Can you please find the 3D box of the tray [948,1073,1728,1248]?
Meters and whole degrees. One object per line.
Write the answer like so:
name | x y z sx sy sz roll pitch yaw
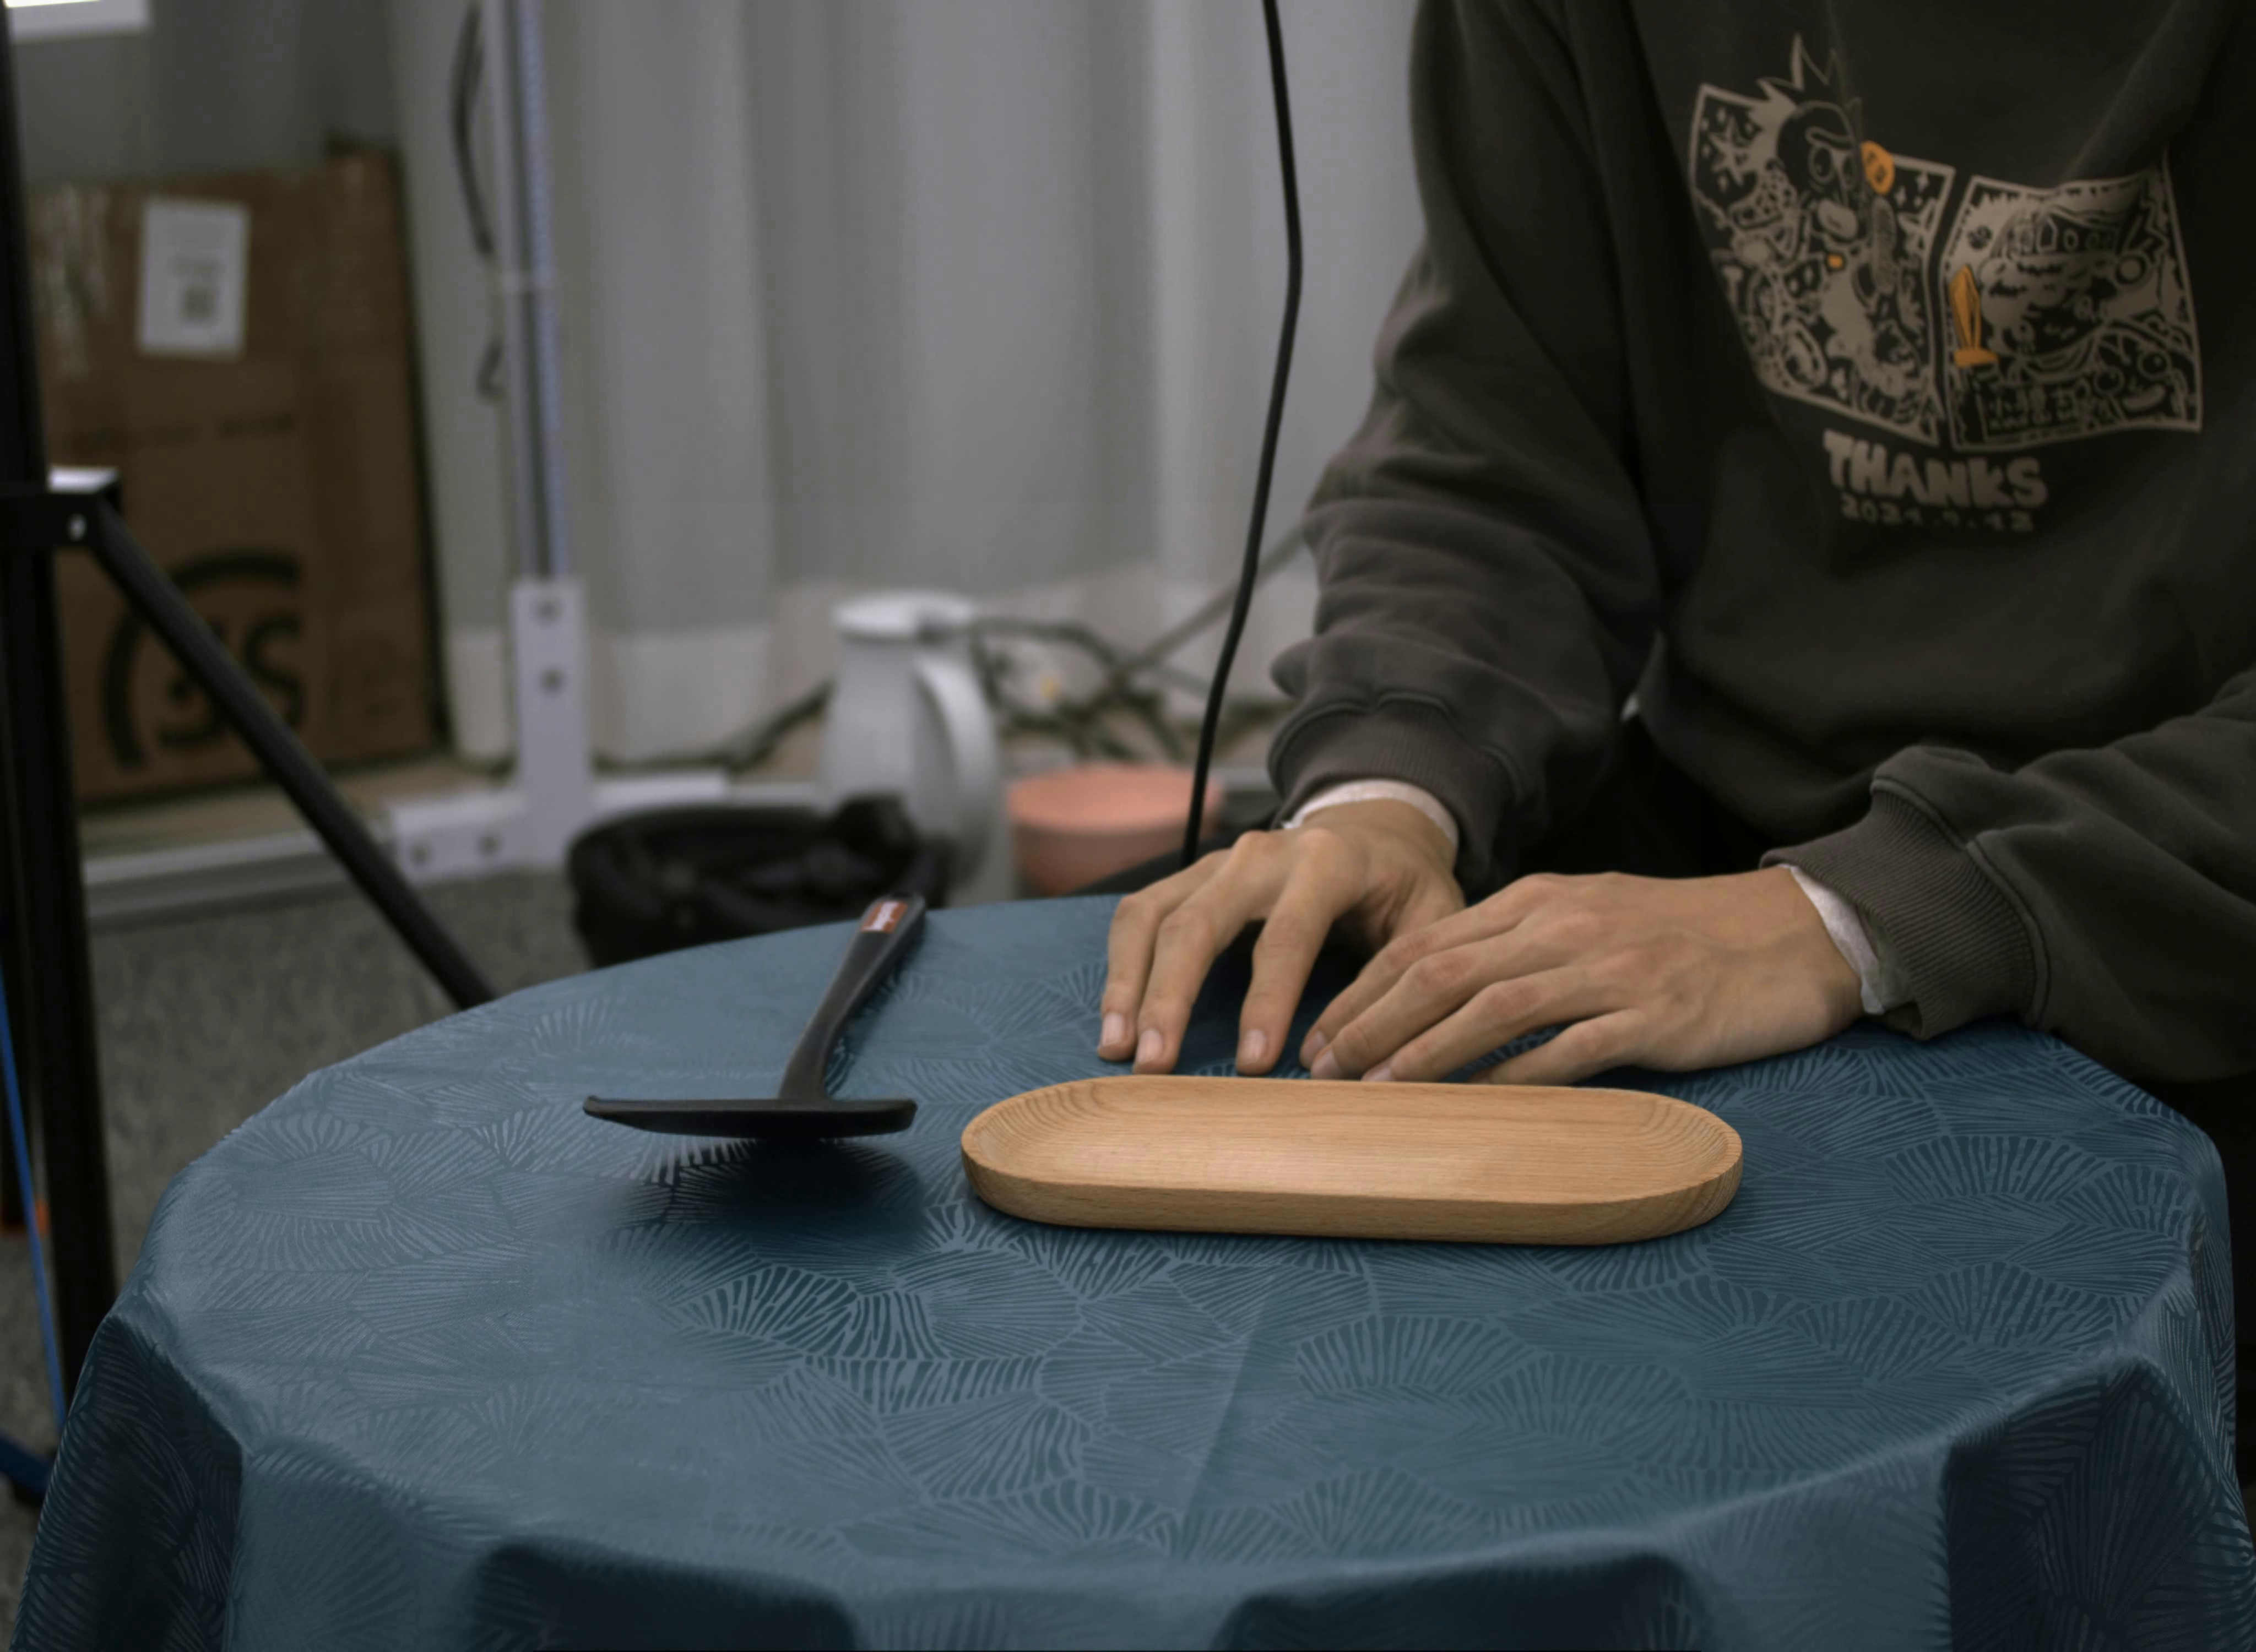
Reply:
tray | 0.061 0.098 1.557 0.233 0.020 0.101 0 16 15

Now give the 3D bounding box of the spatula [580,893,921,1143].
spatula | -0.096 0.056 1.695 0.100 0.040 0.326 0 16 6
